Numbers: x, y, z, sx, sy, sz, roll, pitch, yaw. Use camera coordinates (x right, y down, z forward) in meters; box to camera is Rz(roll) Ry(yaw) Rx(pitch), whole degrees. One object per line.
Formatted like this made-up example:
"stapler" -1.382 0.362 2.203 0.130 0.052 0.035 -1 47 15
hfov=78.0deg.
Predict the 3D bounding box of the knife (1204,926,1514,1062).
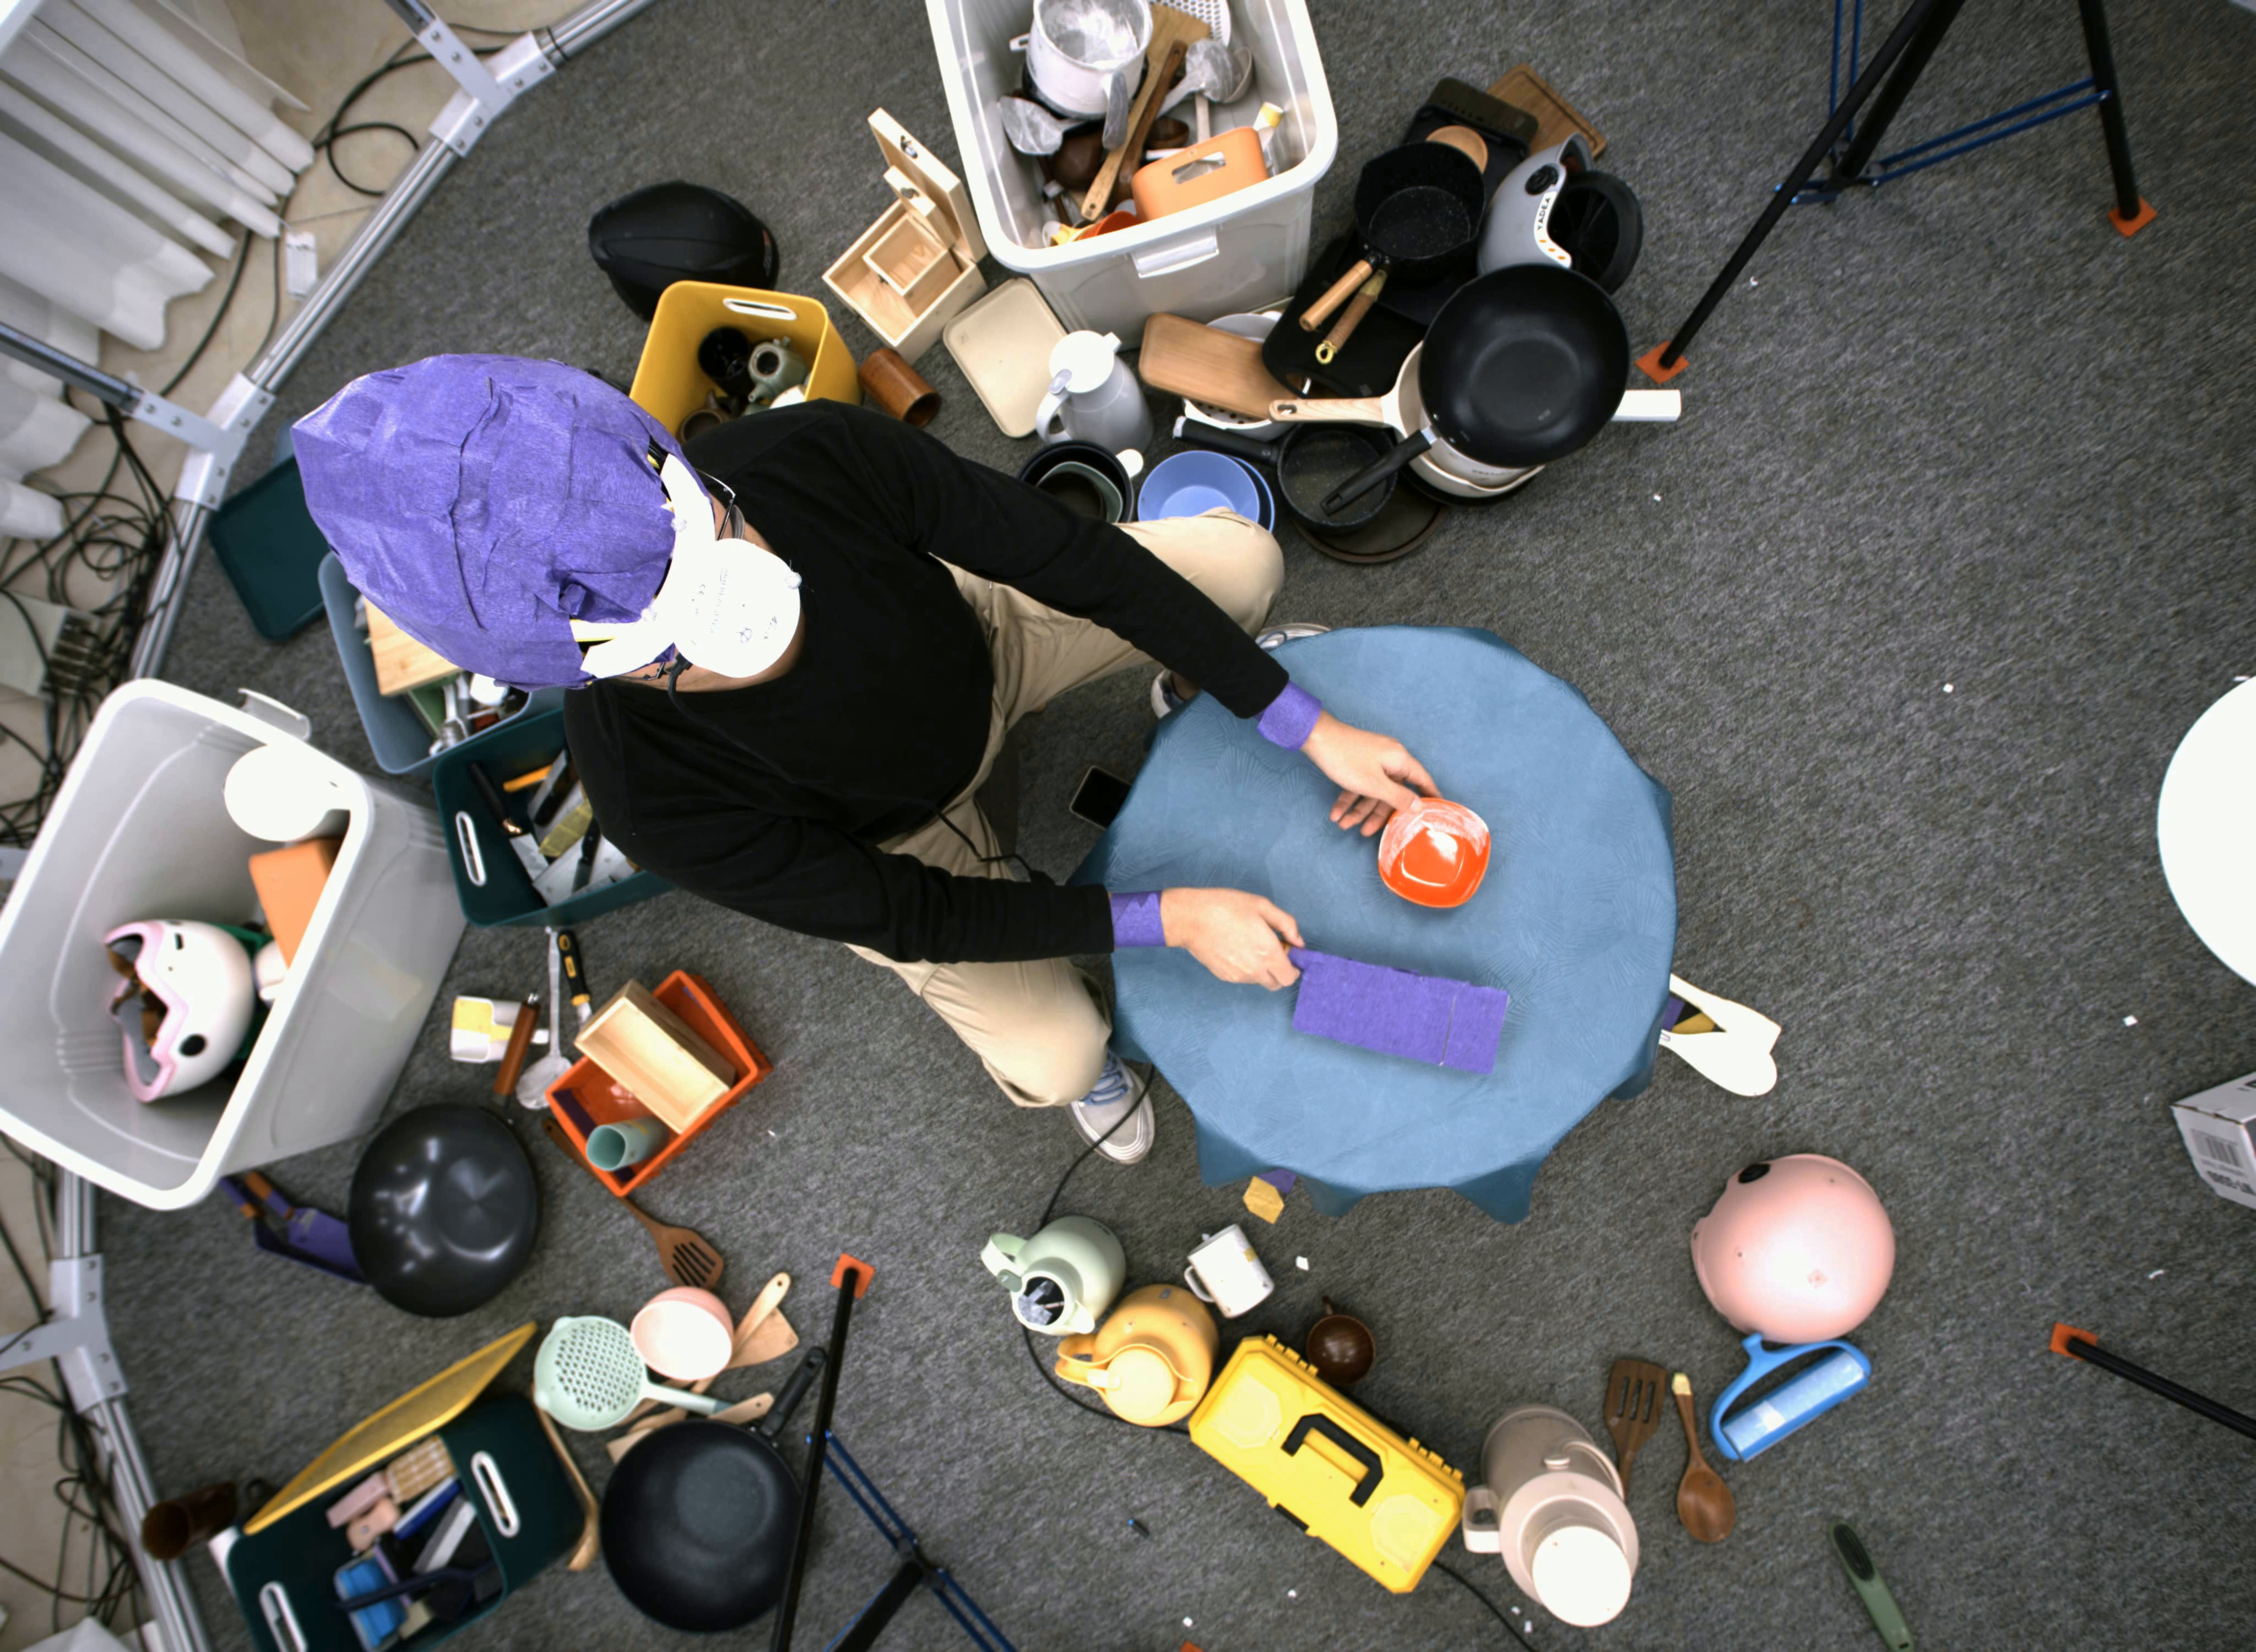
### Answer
"knife" 0.226 0.174 1.407 0.316 0.031 0.105 11 109 14

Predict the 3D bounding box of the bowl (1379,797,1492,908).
"bowl" 0.316 0.027 1.425 0.119 0.051 0.118 0 89 8
